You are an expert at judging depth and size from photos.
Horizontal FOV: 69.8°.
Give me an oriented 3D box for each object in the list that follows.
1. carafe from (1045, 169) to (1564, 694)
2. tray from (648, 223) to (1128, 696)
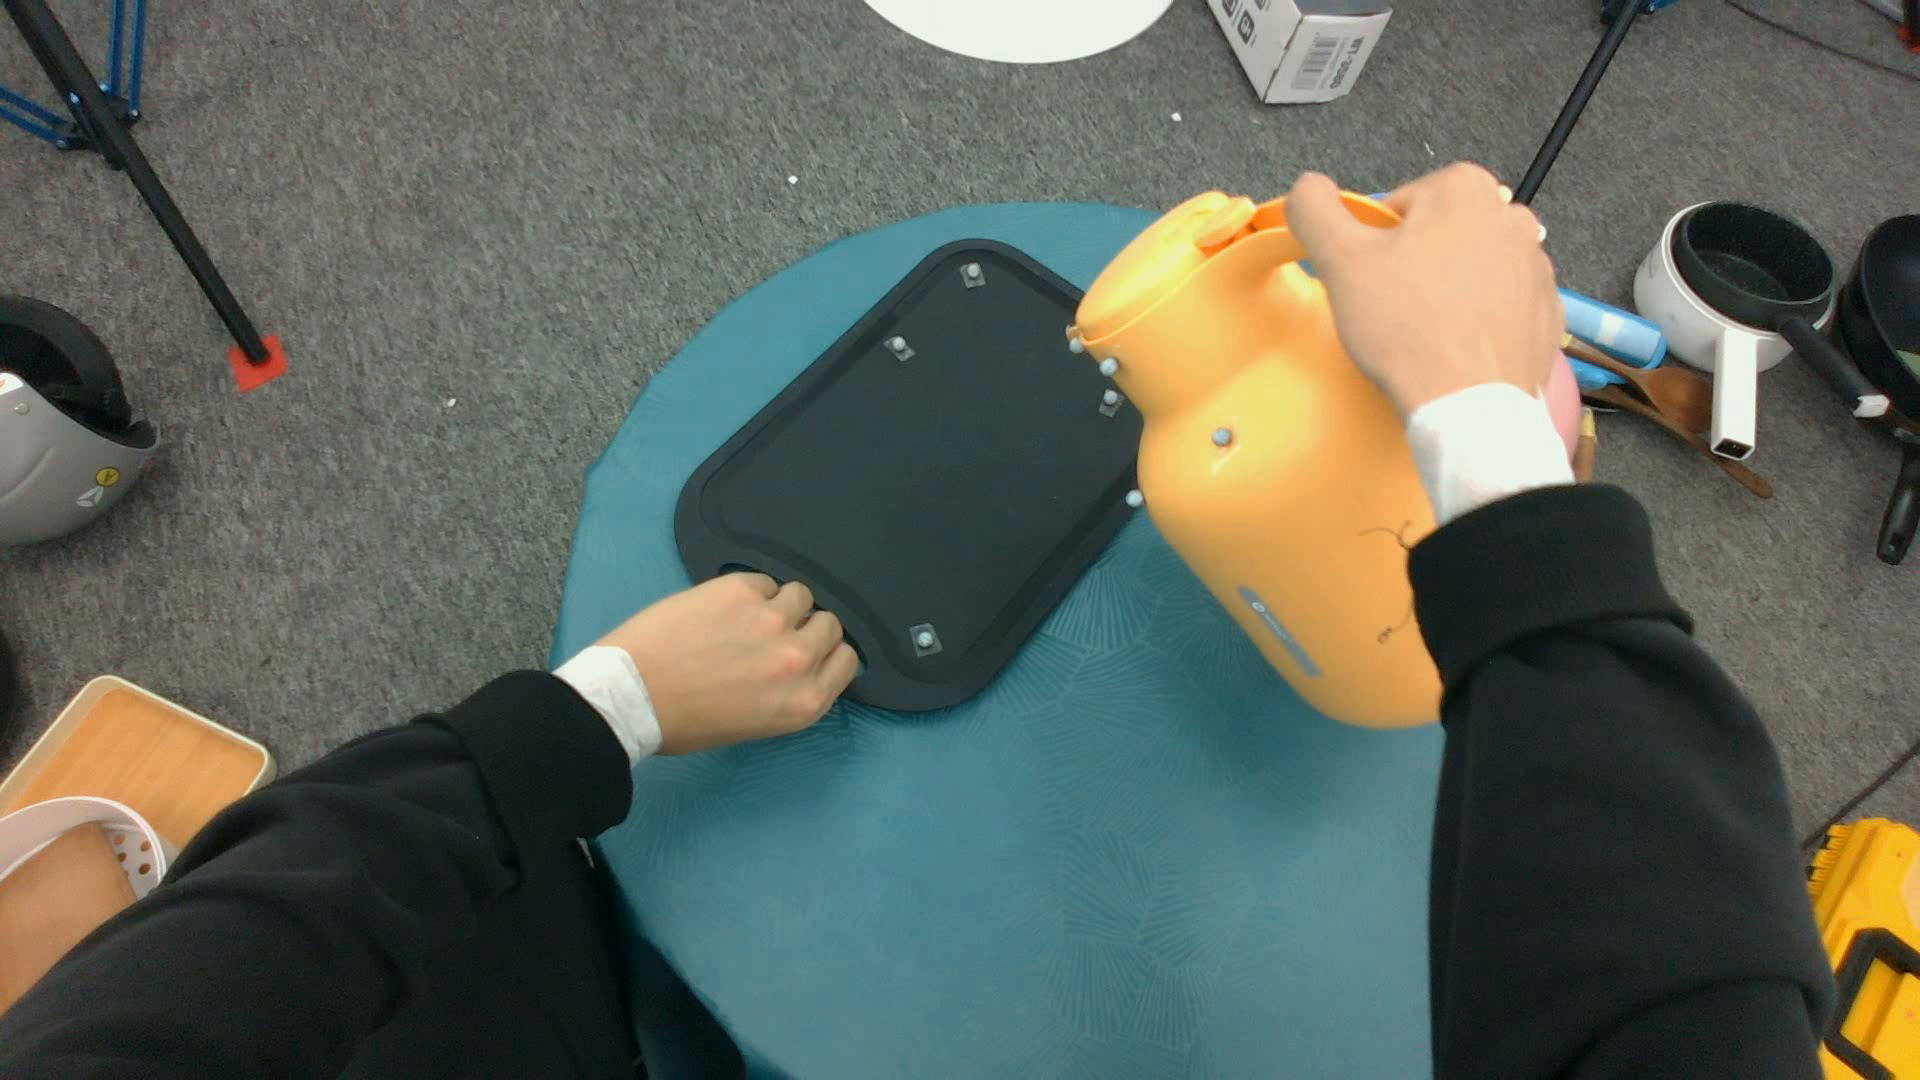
[{"bbox_3d":[0.168,-0.057,0.647,0.260,0.202,0.164,44,66,-18],"label":"carafe"},{"bbox_3d":[-0.021,-0.057,0.802,0.211,0.010,0.327,35,61,13],"label":"tray"}]
